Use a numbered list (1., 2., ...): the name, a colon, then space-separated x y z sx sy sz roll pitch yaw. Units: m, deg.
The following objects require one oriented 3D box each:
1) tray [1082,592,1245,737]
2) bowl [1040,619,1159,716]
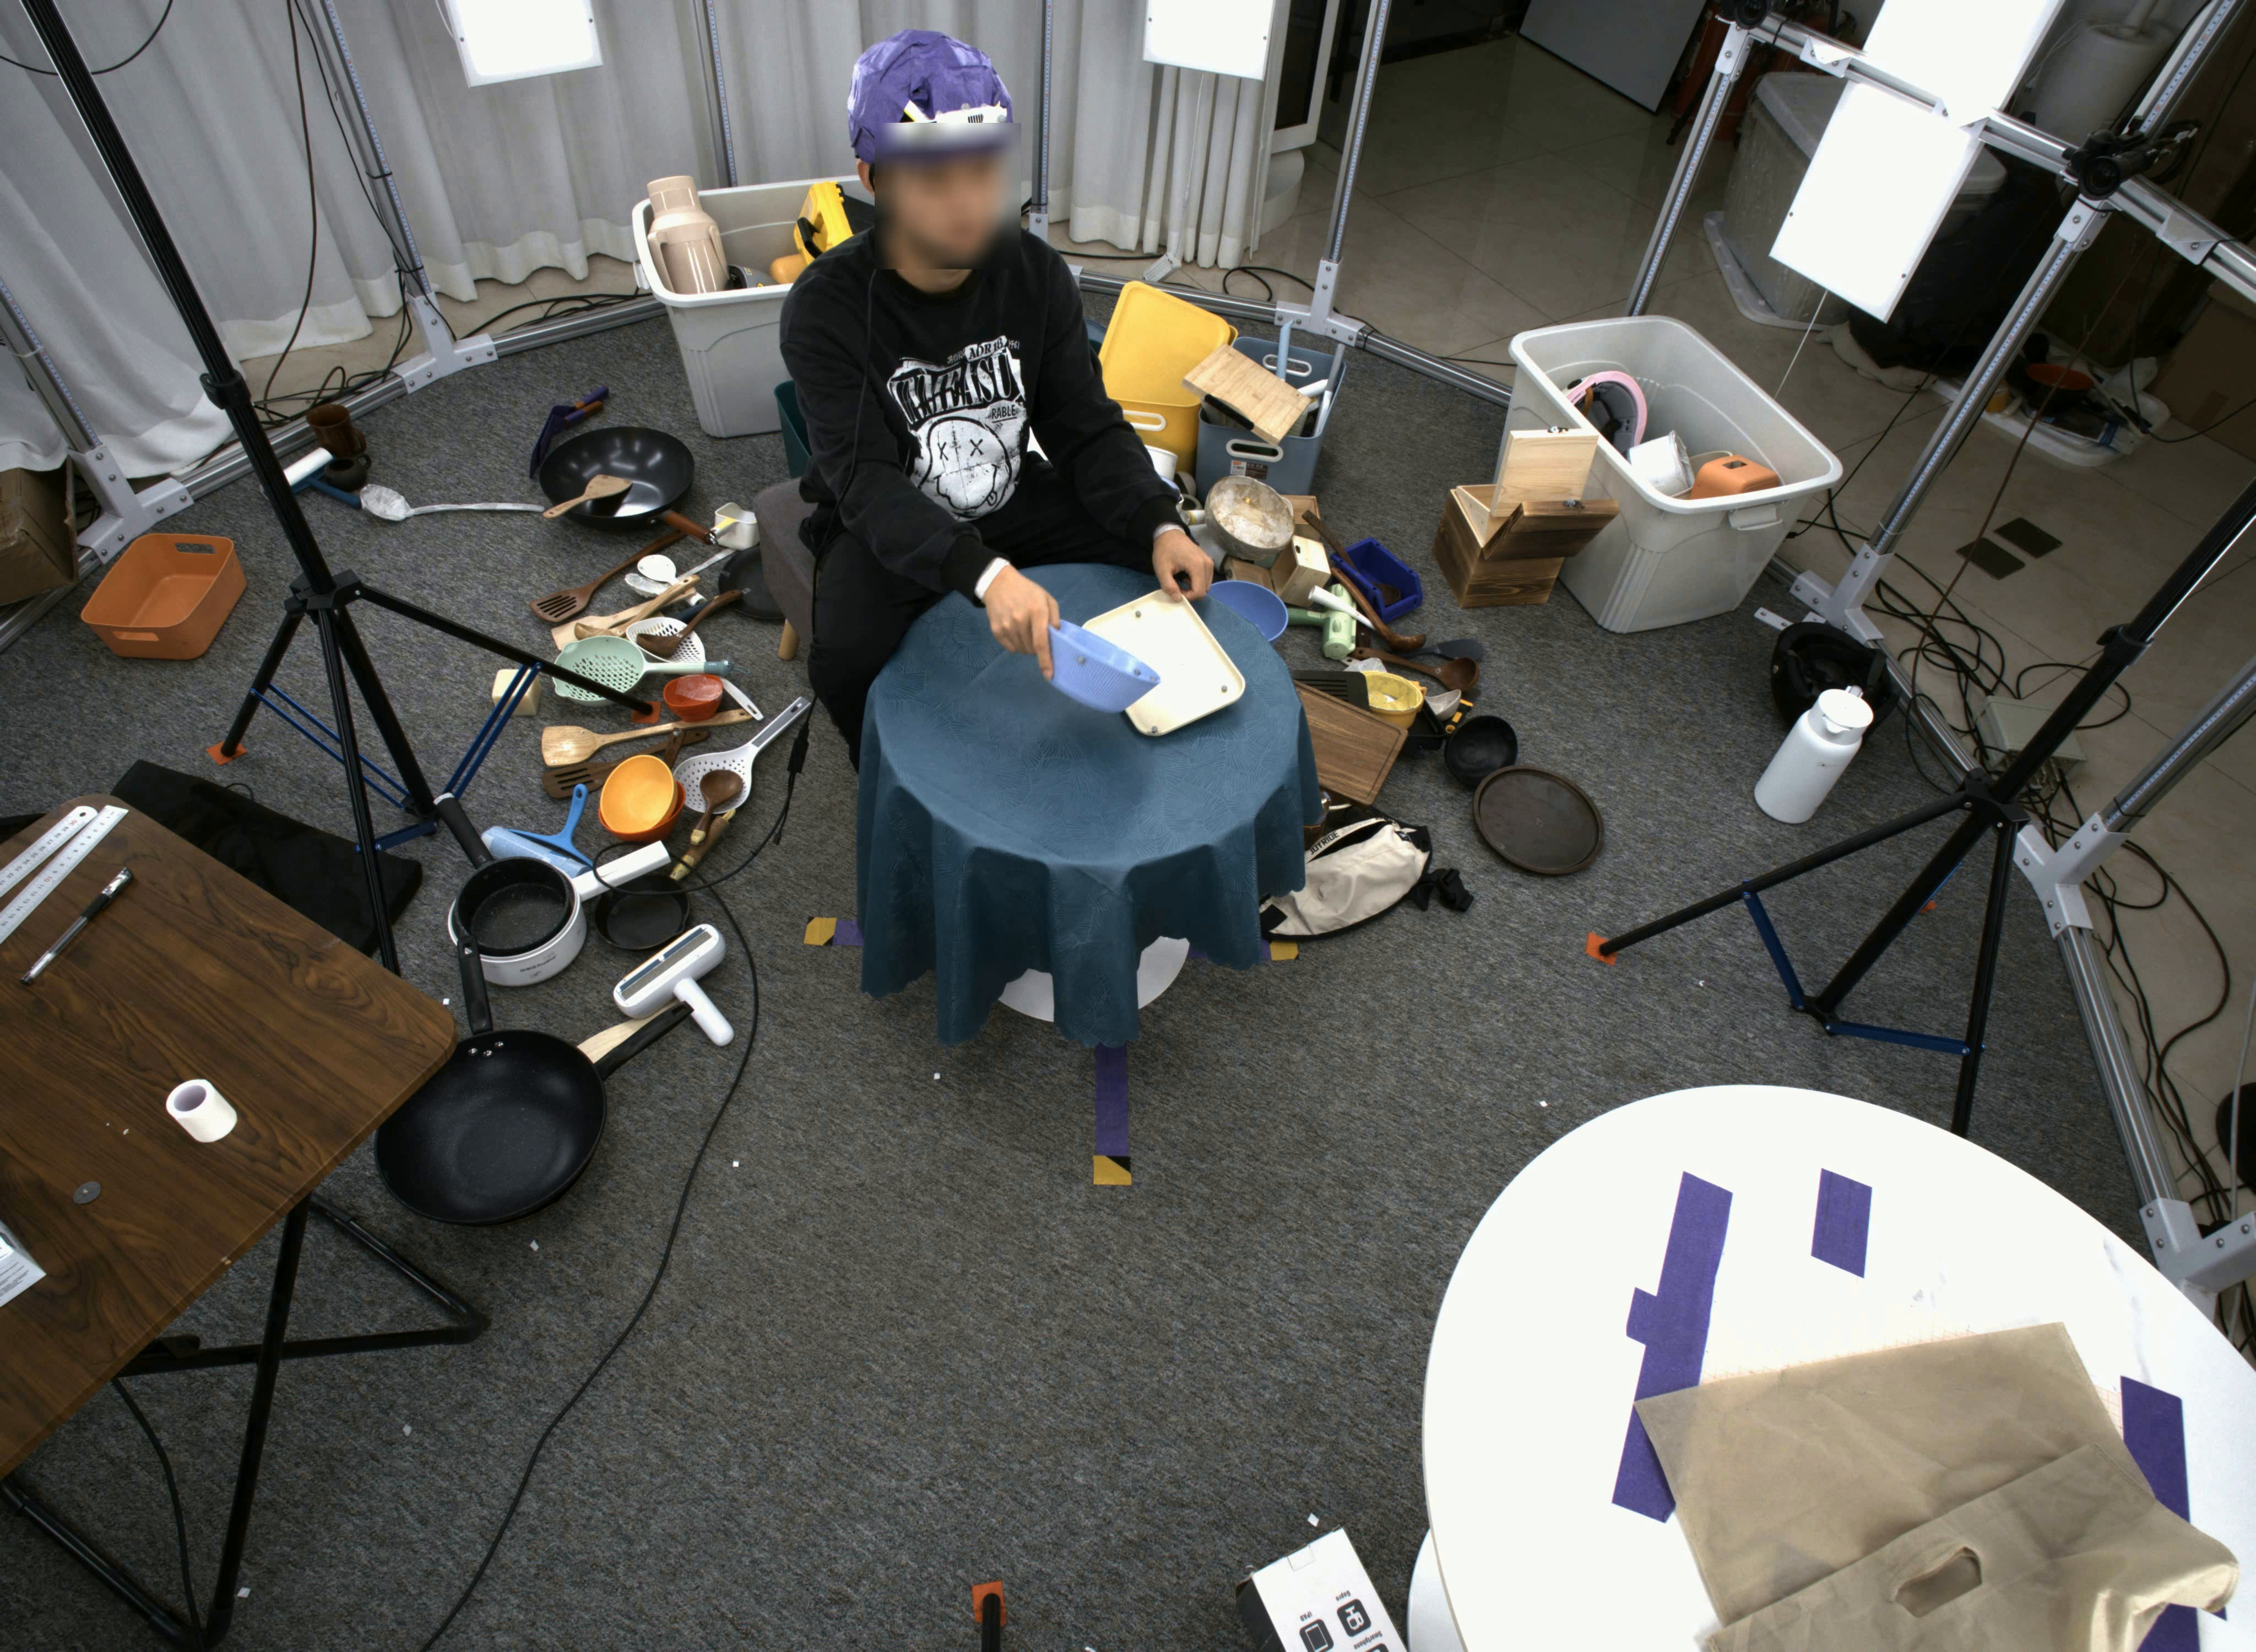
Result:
1. tray: 0.049 -0.236 1.861 0.171 0.017 0.245 -24 56 -10
2. bowl: -0.050 -0.204 1.704 0.175 0.069 0.178 27 16 -8
